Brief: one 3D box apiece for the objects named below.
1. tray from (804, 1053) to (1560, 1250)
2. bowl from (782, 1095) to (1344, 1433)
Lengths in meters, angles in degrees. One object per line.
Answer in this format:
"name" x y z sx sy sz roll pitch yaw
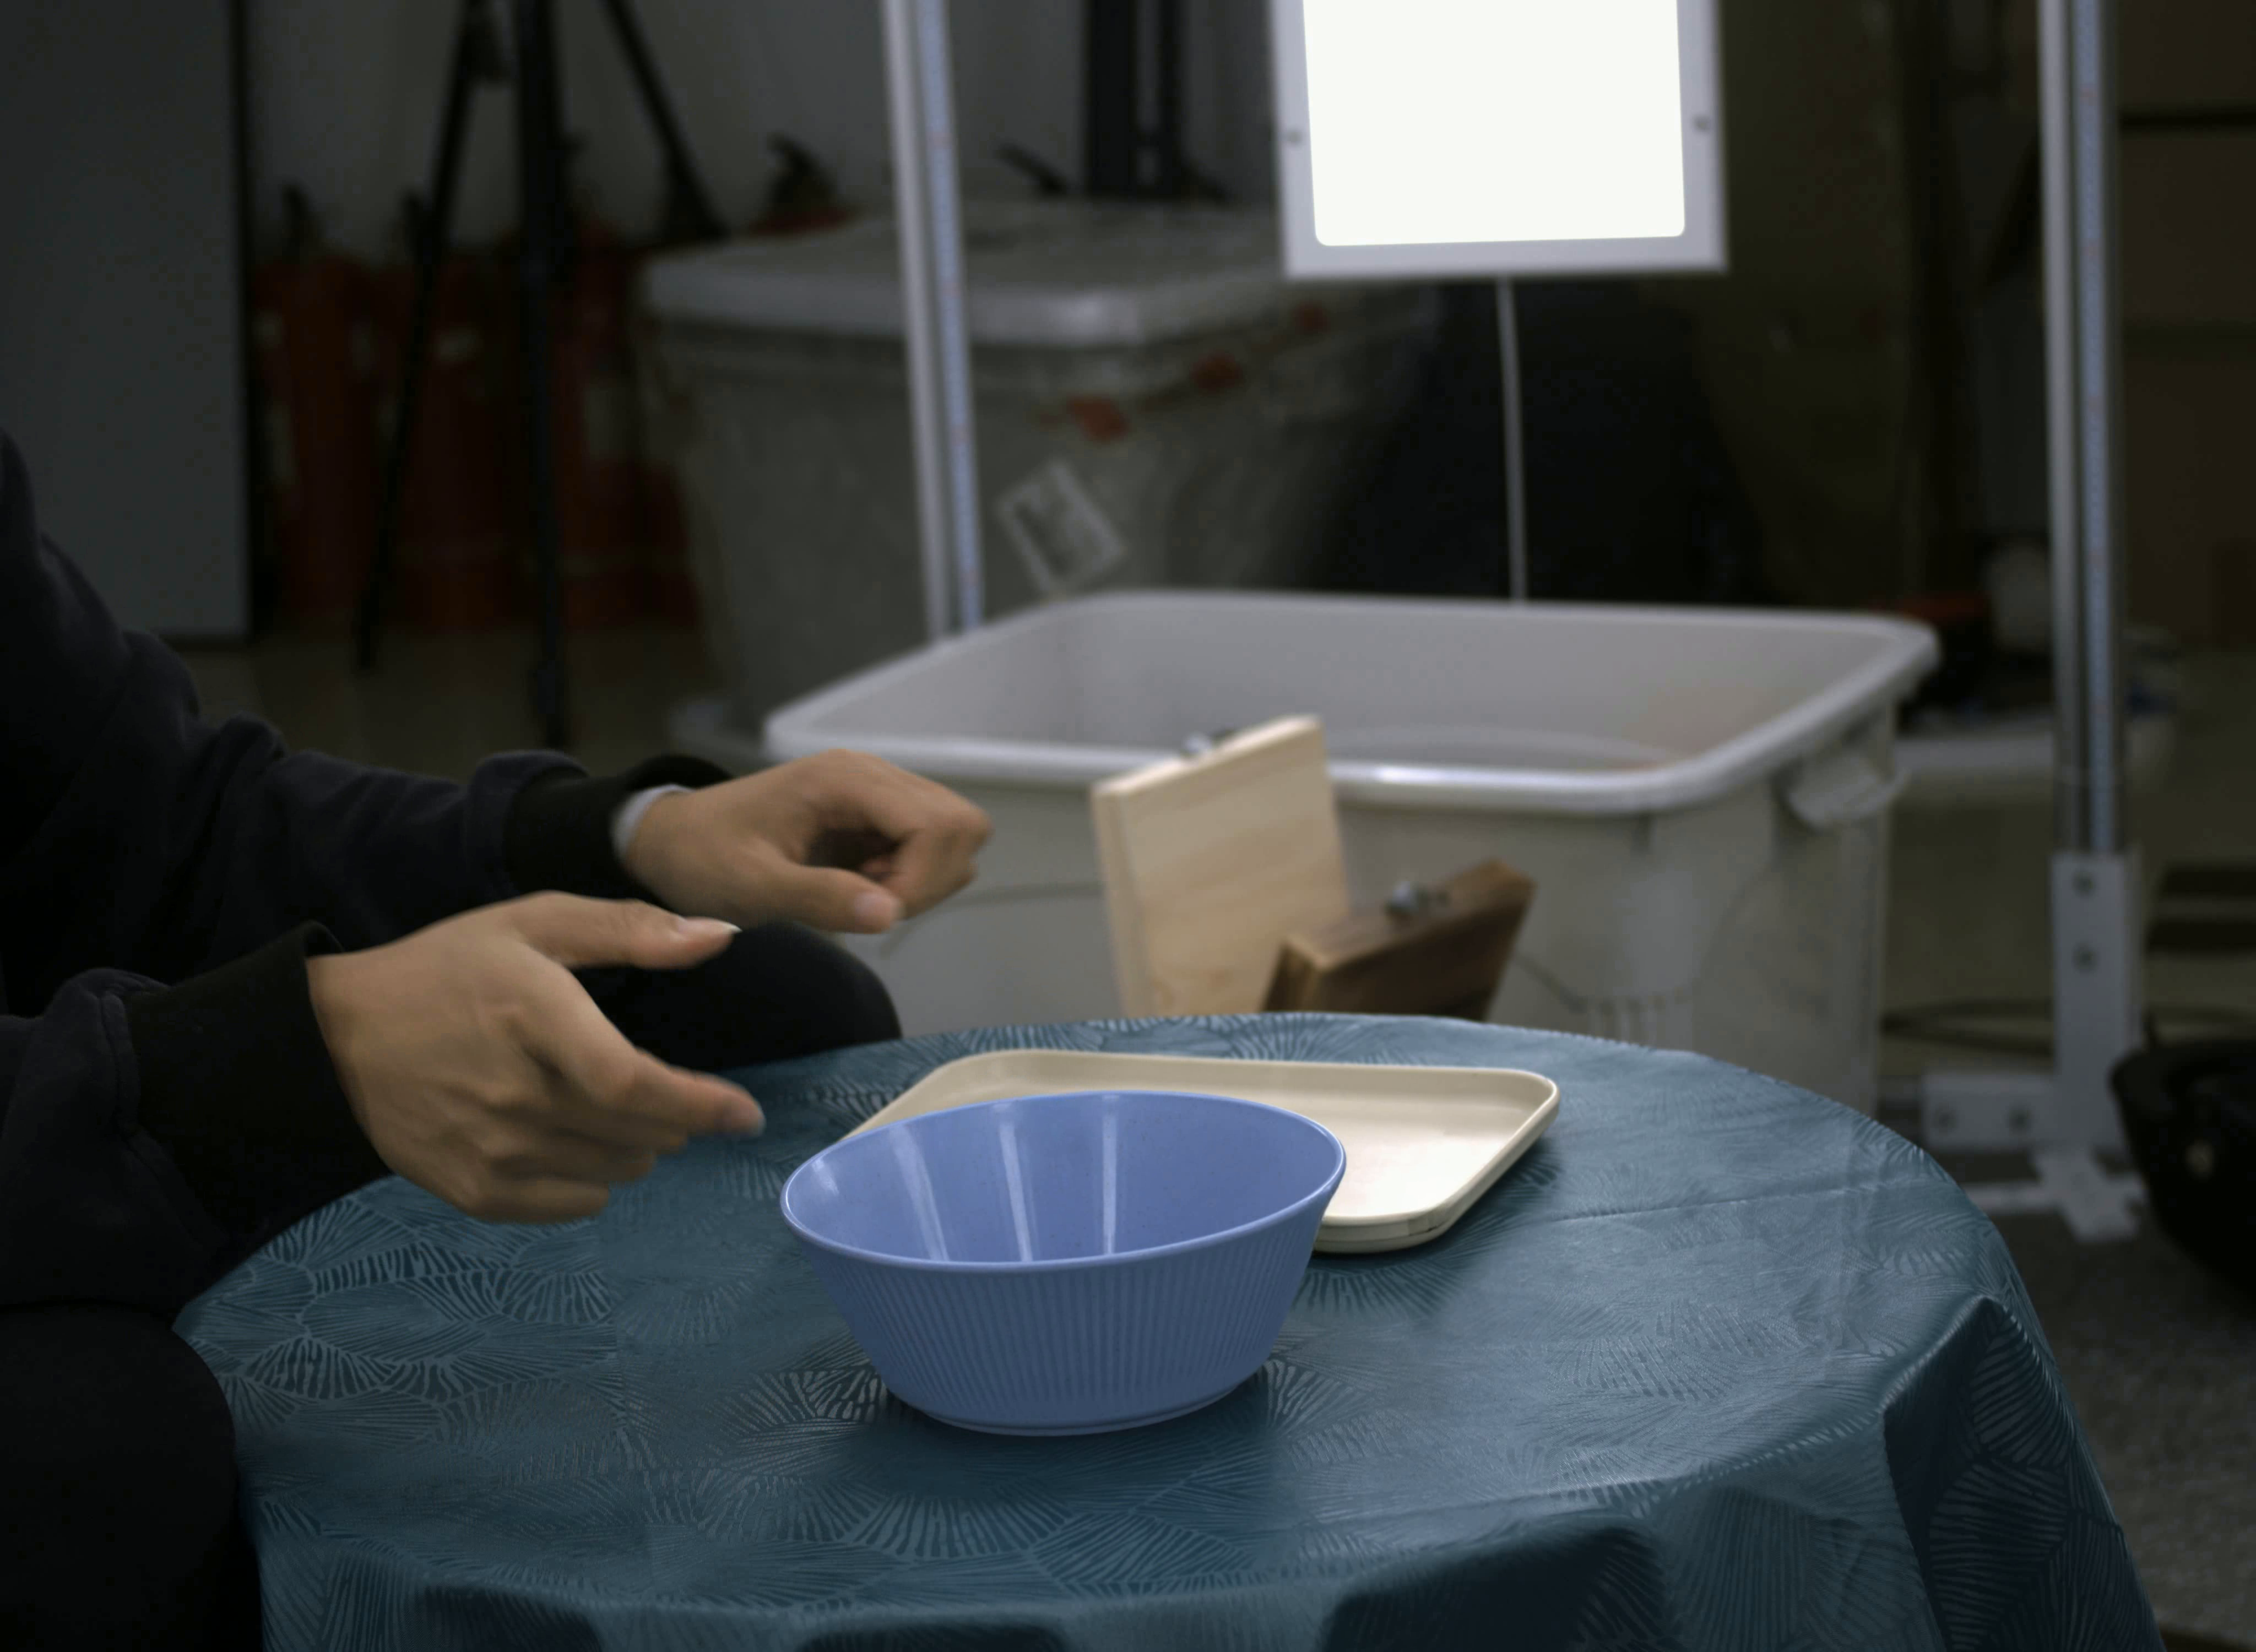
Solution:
"tray" 0.020 0.113 1.909 0.243 0.017 0.168 1 14 24
"bowl" -0.018 0.138 1.707 0.175 0.070 0.176 -5 13 0
